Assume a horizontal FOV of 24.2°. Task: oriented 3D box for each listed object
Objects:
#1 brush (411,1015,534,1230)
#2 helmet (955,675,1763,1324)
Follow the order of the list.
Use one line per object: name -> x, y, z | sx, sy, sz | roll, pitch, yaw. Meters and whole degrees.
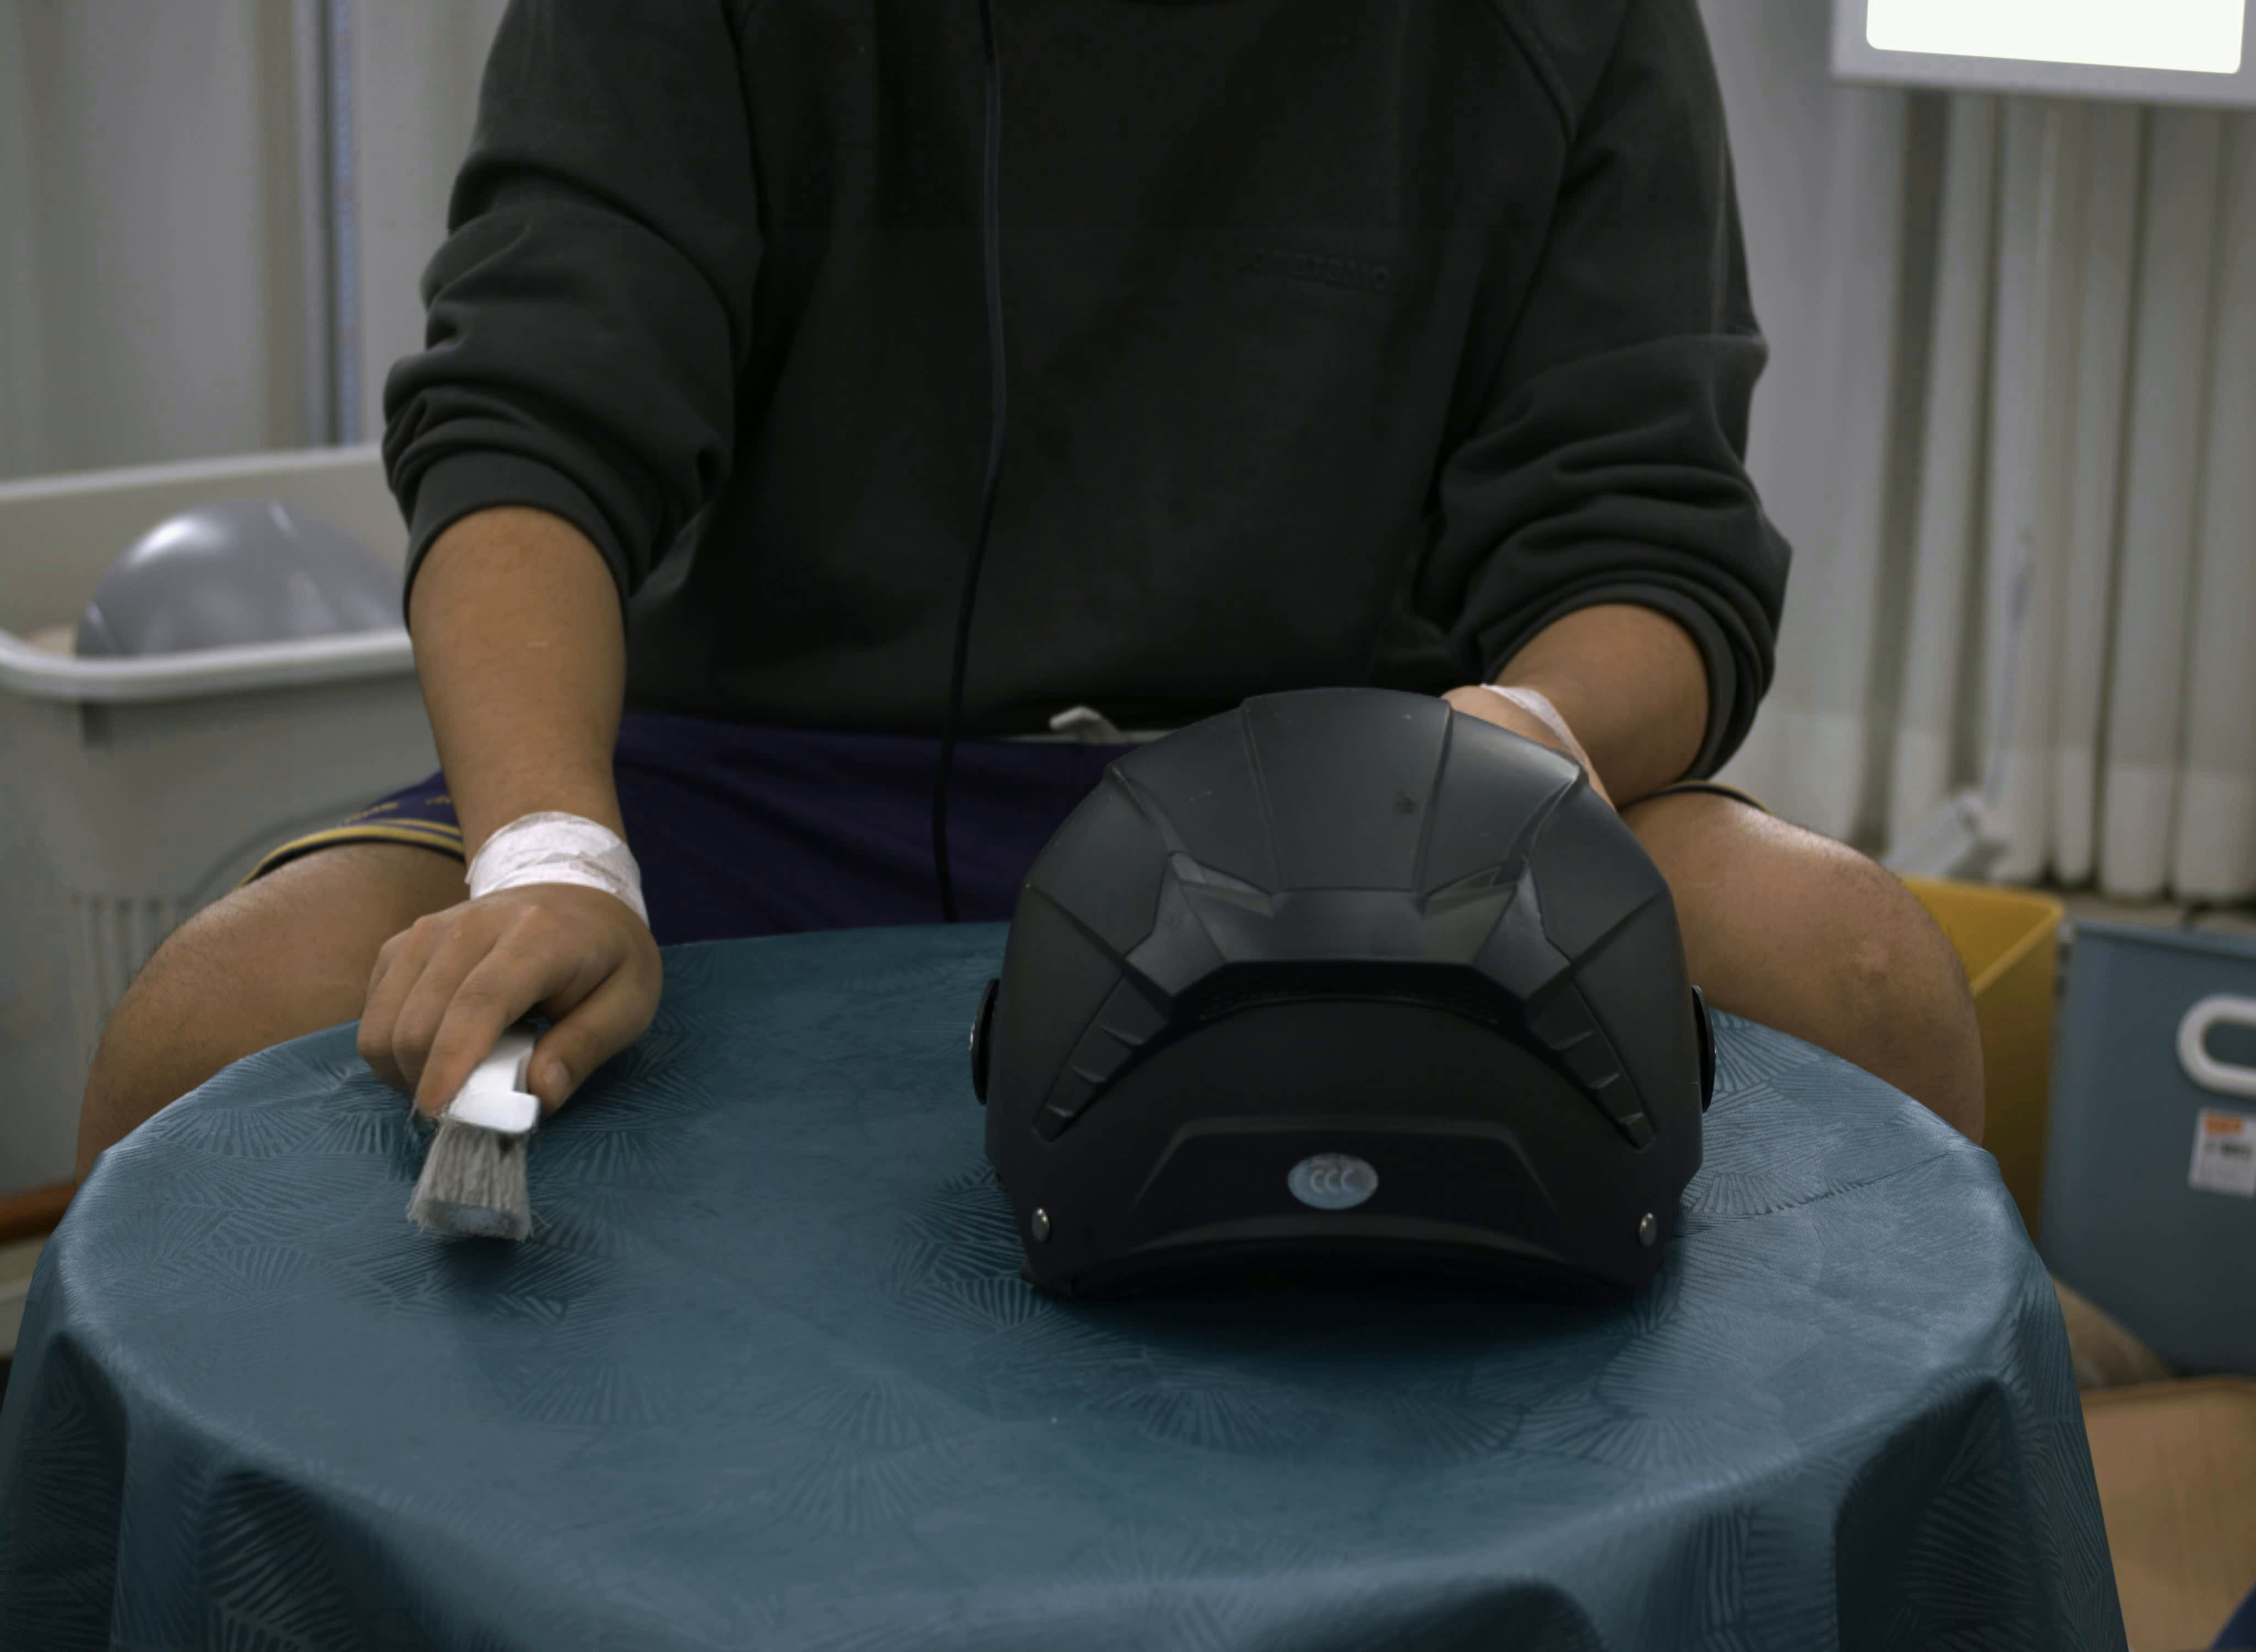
brush -> -0.201, 0.092, 1.637 | 0.034, 0.050, 0.243 | 6, 3, -6
helmet -> 0.069, 0.041, 1.585 | 0.245, 0.174, 0.275 | 2, 19, 3
